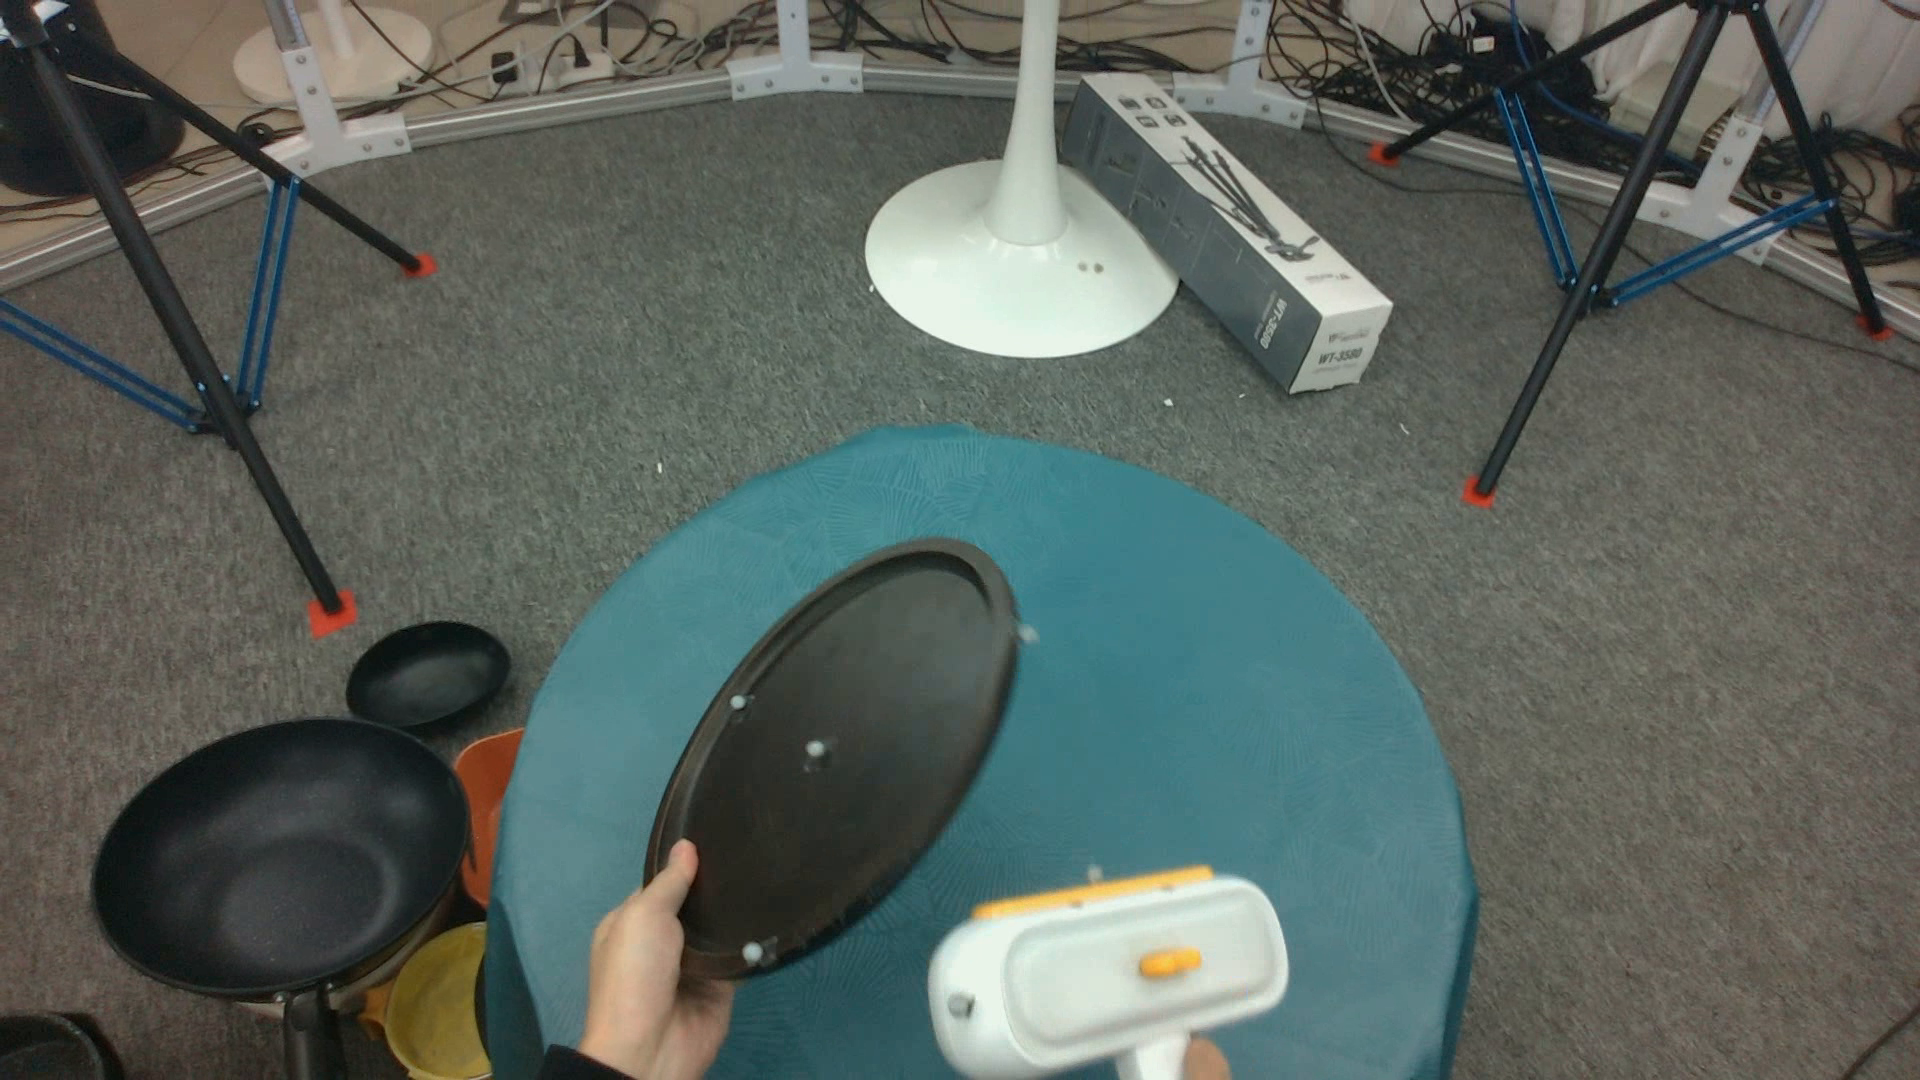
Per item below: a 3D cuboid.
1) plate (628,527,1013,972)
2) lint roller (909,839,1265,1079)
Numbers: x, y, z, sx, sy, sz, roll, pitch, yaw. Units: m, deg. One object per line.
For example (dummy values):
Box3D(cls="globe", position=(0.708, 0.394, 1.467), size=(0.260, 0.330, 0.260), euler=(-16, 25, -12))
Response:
Box3D(cls="plate", position=(-0.073, 0.099, 0.695), size=(0.254, 0.029, 0.256), euler=(-32, 34, 25))
Box3D(cls="lint roller", position=(0.088, 0.229, 0.593), size=(0.193, 0.074, 0.193), euler=(0, 57, -45))
